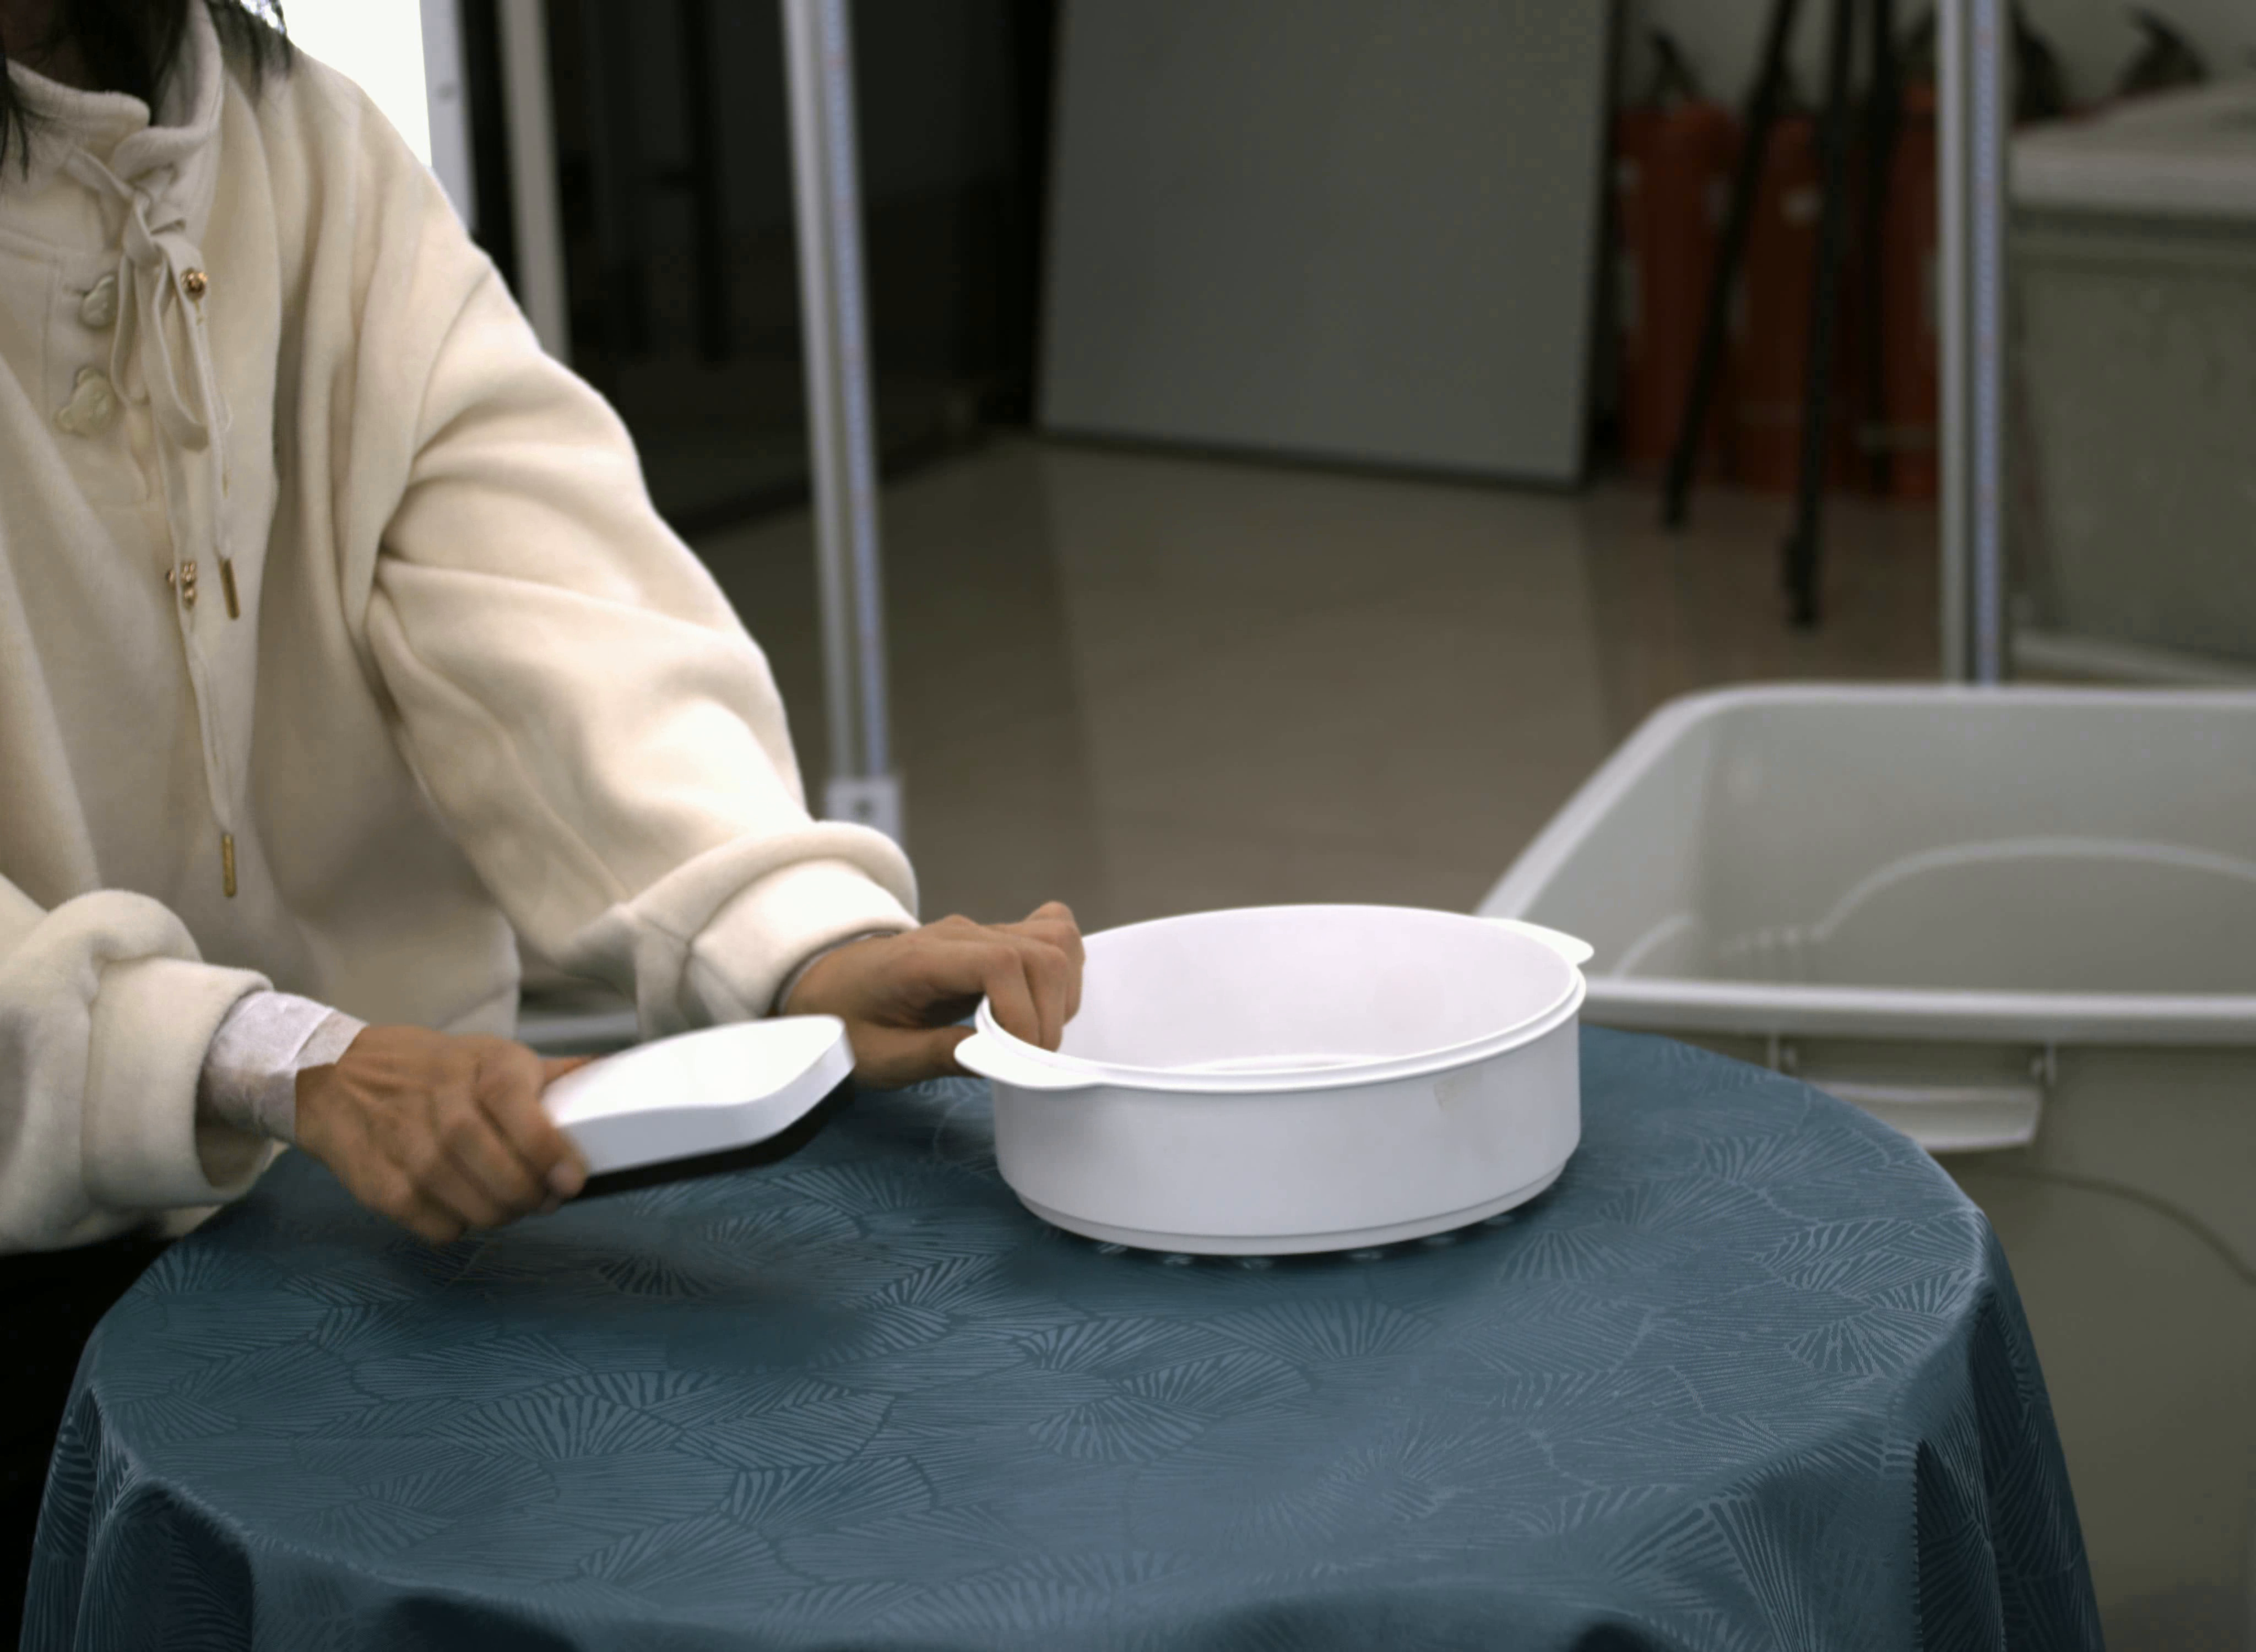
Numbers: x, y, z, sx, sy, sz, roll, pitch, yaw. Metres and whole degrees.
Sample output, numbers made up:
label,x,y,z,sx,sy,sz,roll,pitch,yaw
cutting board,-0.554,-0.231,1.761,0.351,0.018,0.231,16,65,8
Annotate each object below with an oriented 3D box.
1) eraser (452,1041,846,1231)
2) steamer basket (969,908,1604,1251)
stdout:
label,x,y,z,sx,sy,sz,roll,pitch,yaw
eraser,-0.150,0.095,1.698,0.132,0.035,0.062,-12,17,37
steamer basket,0.056,0.083,1.766,0.225,0.070,0.204,-11,15,-30
